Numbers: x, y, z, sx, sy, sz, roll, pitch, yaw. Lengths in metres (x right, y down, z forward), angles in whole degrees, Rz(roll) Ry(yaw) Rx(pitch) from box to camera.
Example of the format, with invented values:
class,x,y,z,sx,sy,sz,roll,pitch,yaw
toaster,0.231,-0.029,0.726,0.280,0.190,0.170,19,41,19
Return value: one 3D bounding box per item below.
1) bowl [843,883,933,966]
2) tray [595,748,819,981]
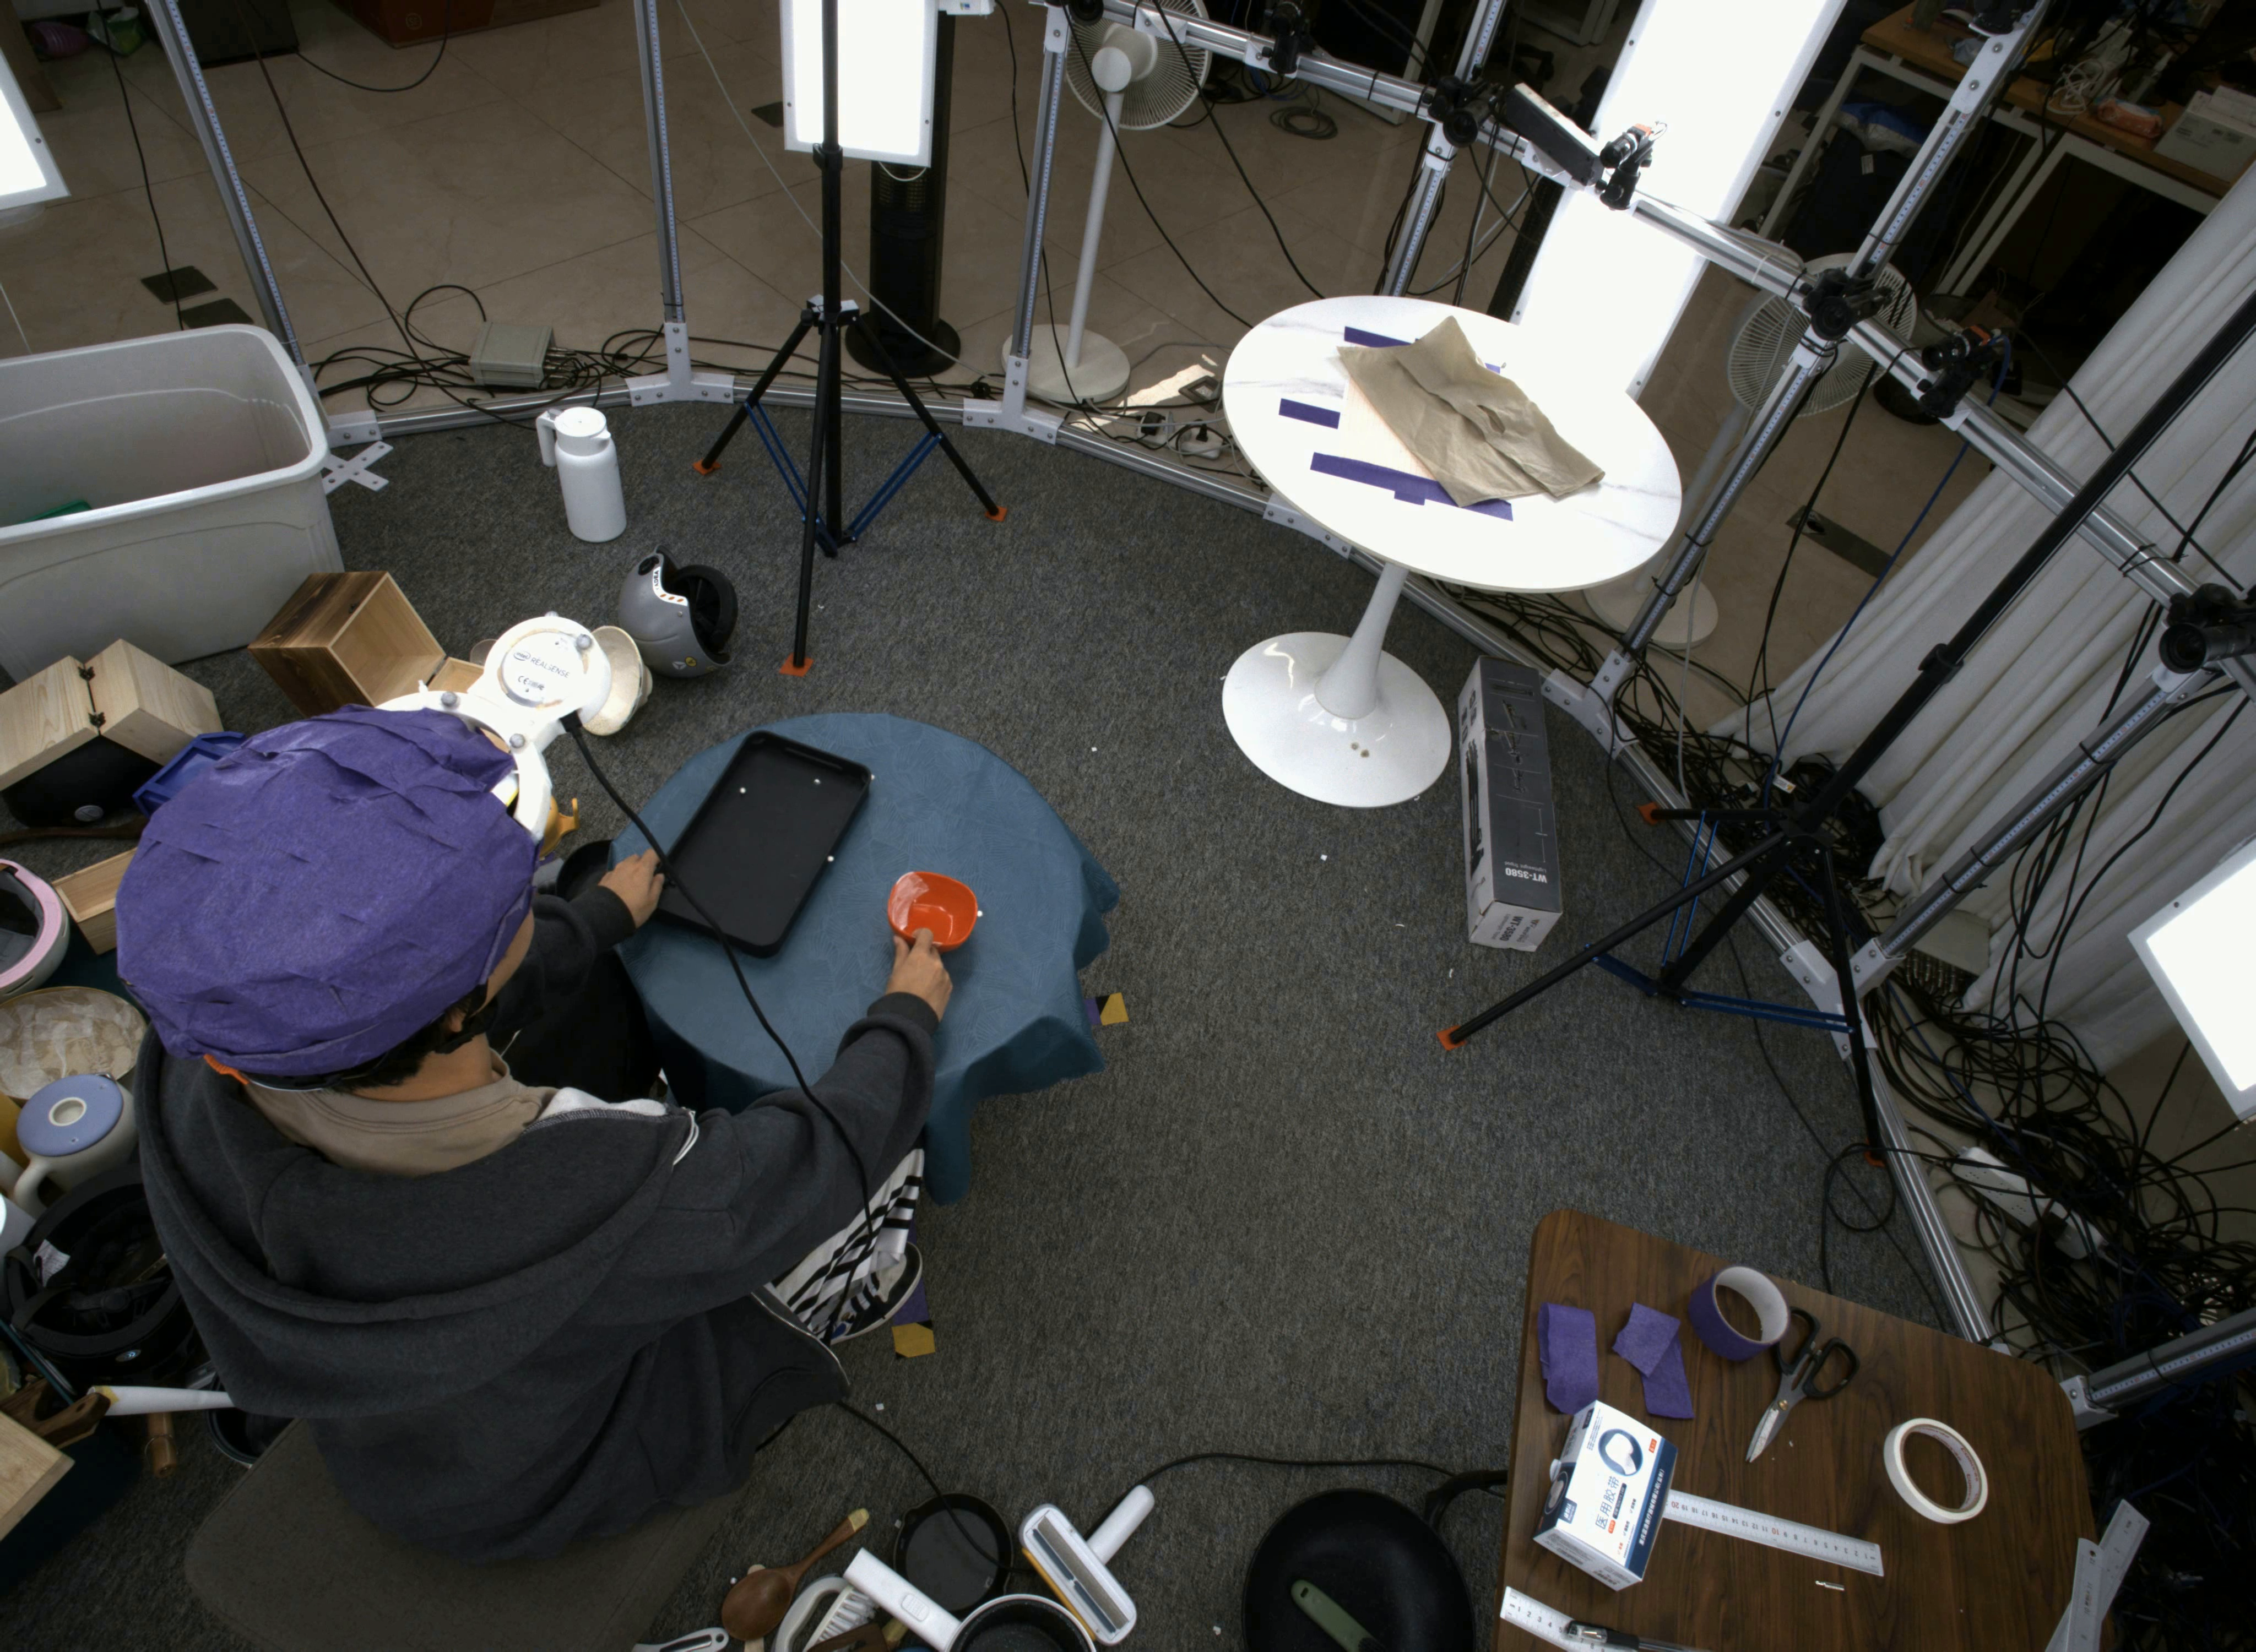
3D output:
class,x,y,z,sx,sy,sz,roll,pitch,yaw
bowl,-0.301,0.128,1.612,0.119,0.052,0.116,15,44,-13
tray,-0.531,0.041,1.645,0.183,0.038,0.314,18,50,-1
